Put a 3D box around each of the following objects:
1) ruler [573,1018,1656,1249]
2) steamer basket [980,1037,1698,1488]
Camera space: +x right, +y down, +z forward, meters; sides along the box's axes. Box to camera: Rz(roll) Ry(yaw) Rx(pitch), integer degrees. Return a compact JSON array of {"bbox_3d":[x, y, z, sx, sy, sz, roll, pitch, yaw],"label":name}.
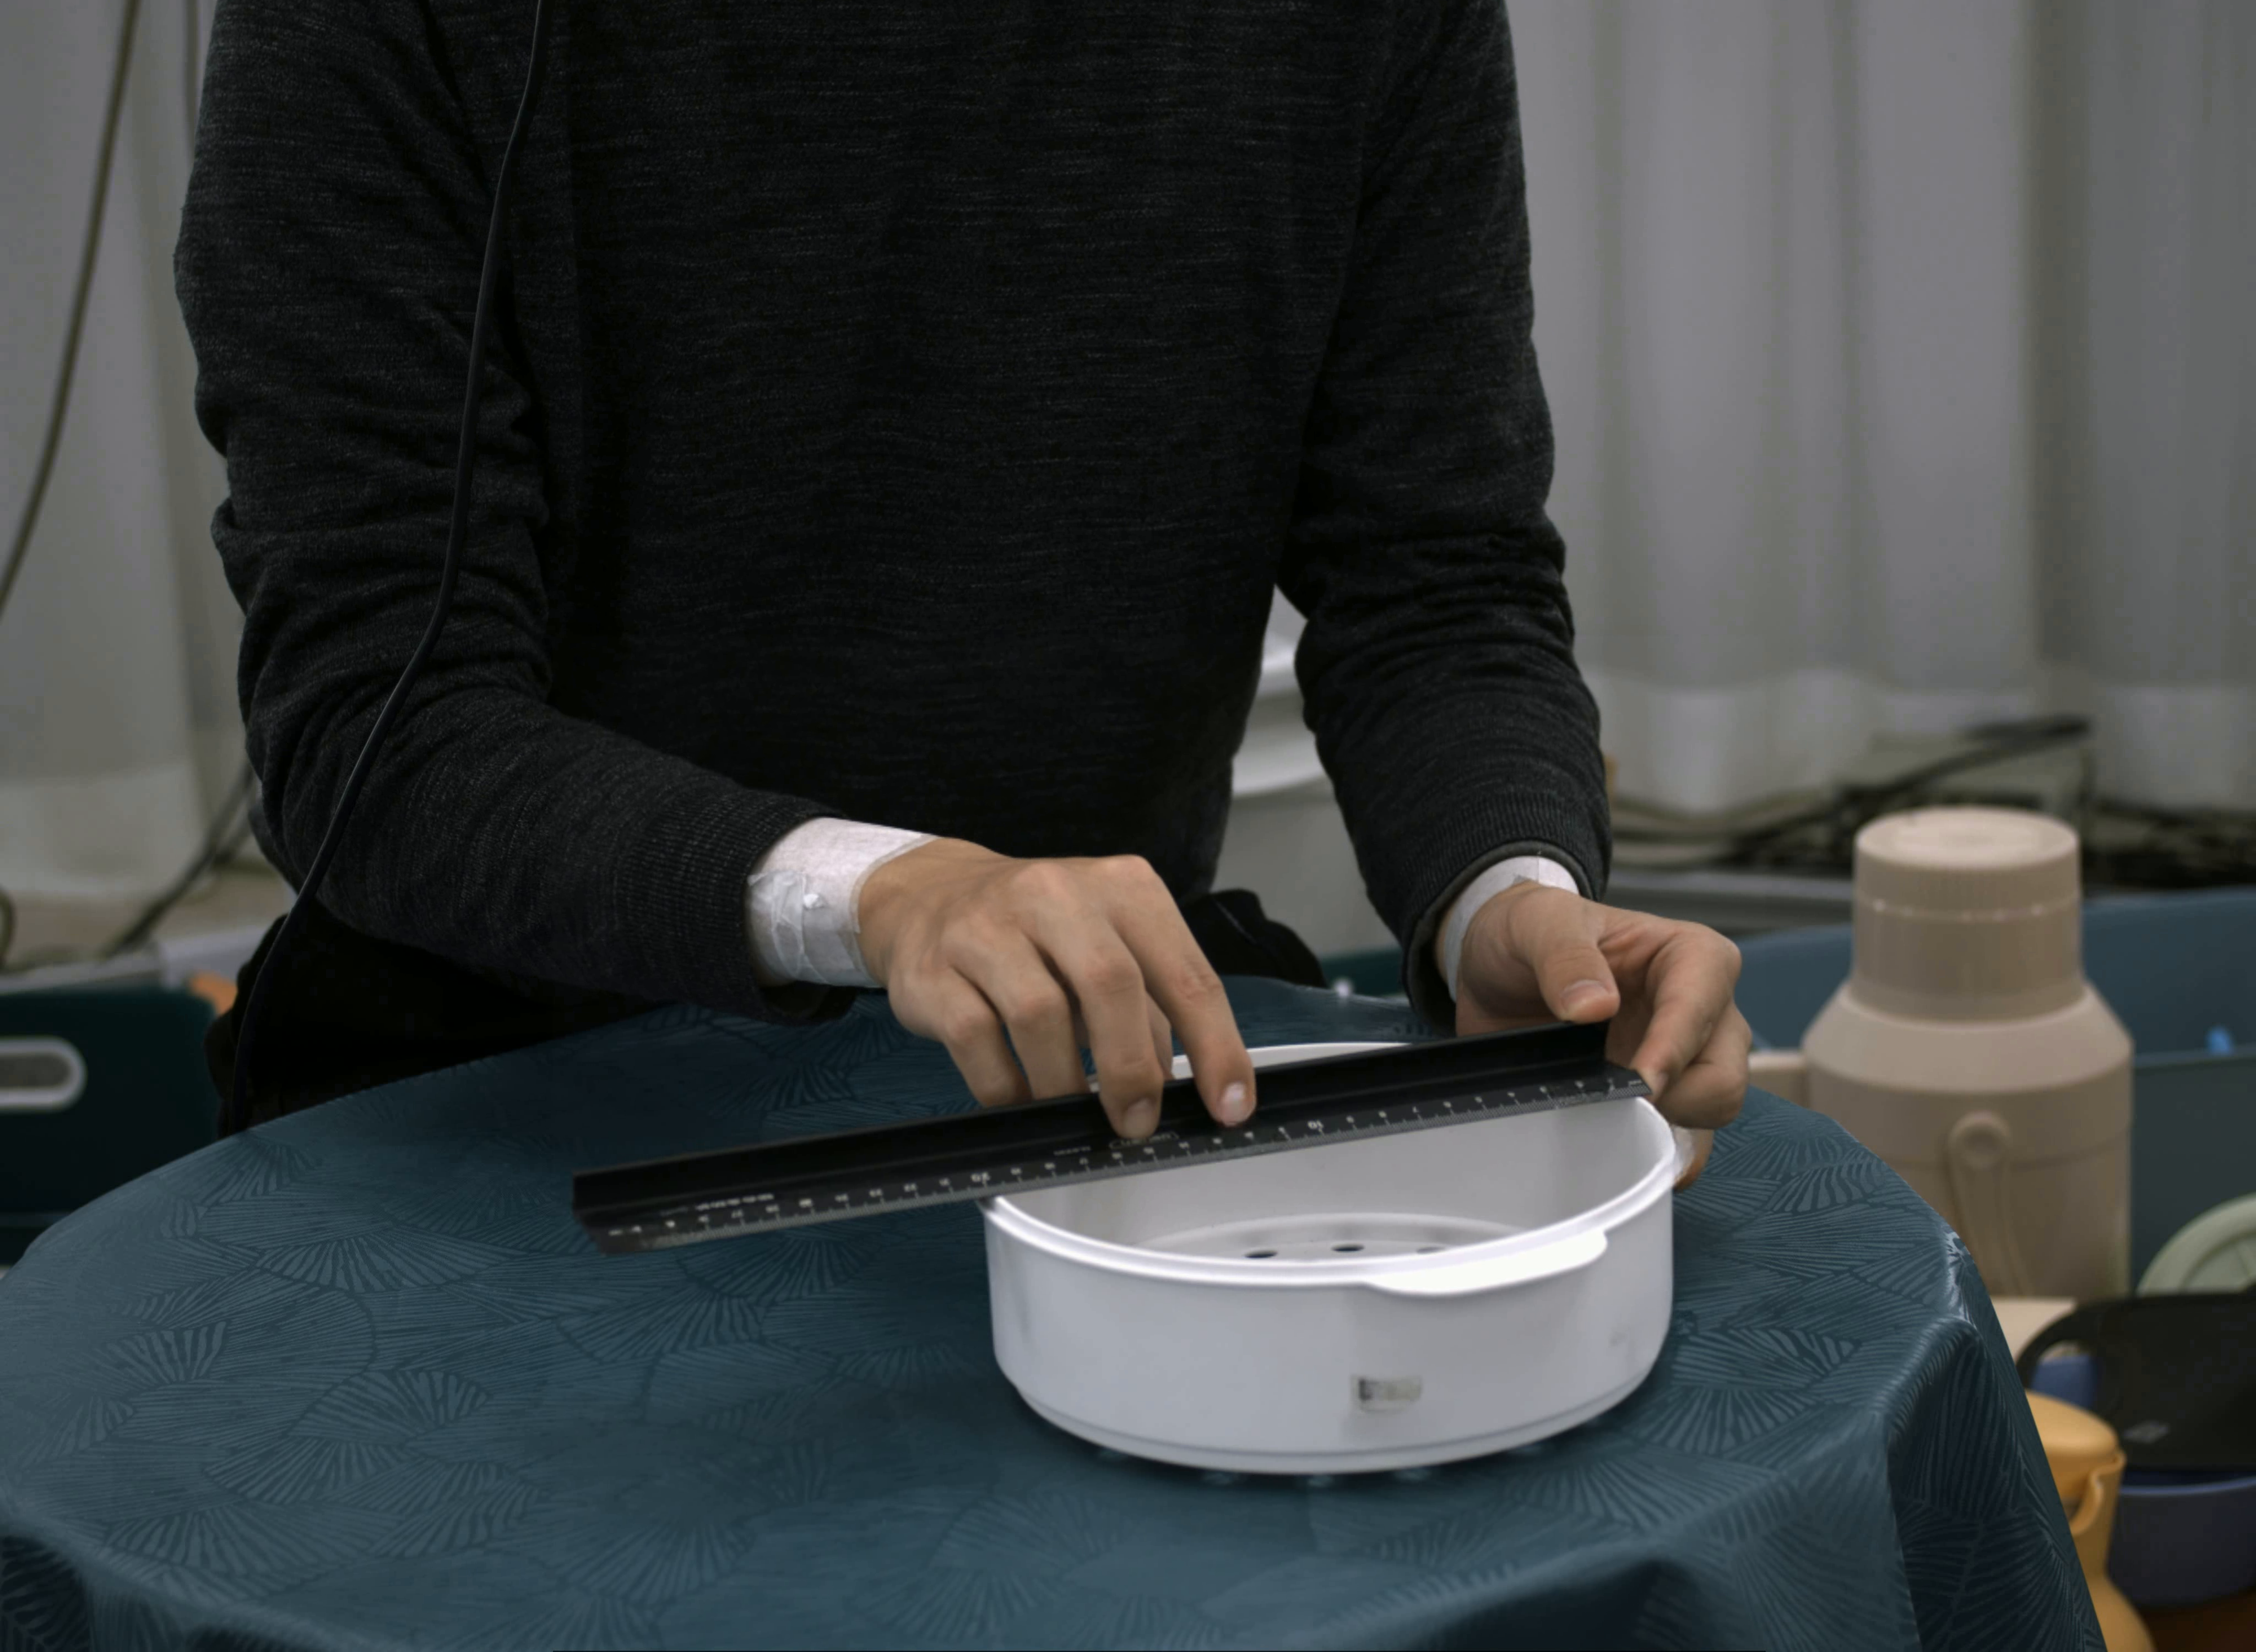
[{"bbox_3d":[-0.001,0.085,1.536,0.311,0.017,0.039,-7,19,-17],"label":"ruler"},{"bbox_3d":[0.060,0.122,1.541,0.201,0.069,0.232,-9,18,-24],"label":"steamer basket"}]
